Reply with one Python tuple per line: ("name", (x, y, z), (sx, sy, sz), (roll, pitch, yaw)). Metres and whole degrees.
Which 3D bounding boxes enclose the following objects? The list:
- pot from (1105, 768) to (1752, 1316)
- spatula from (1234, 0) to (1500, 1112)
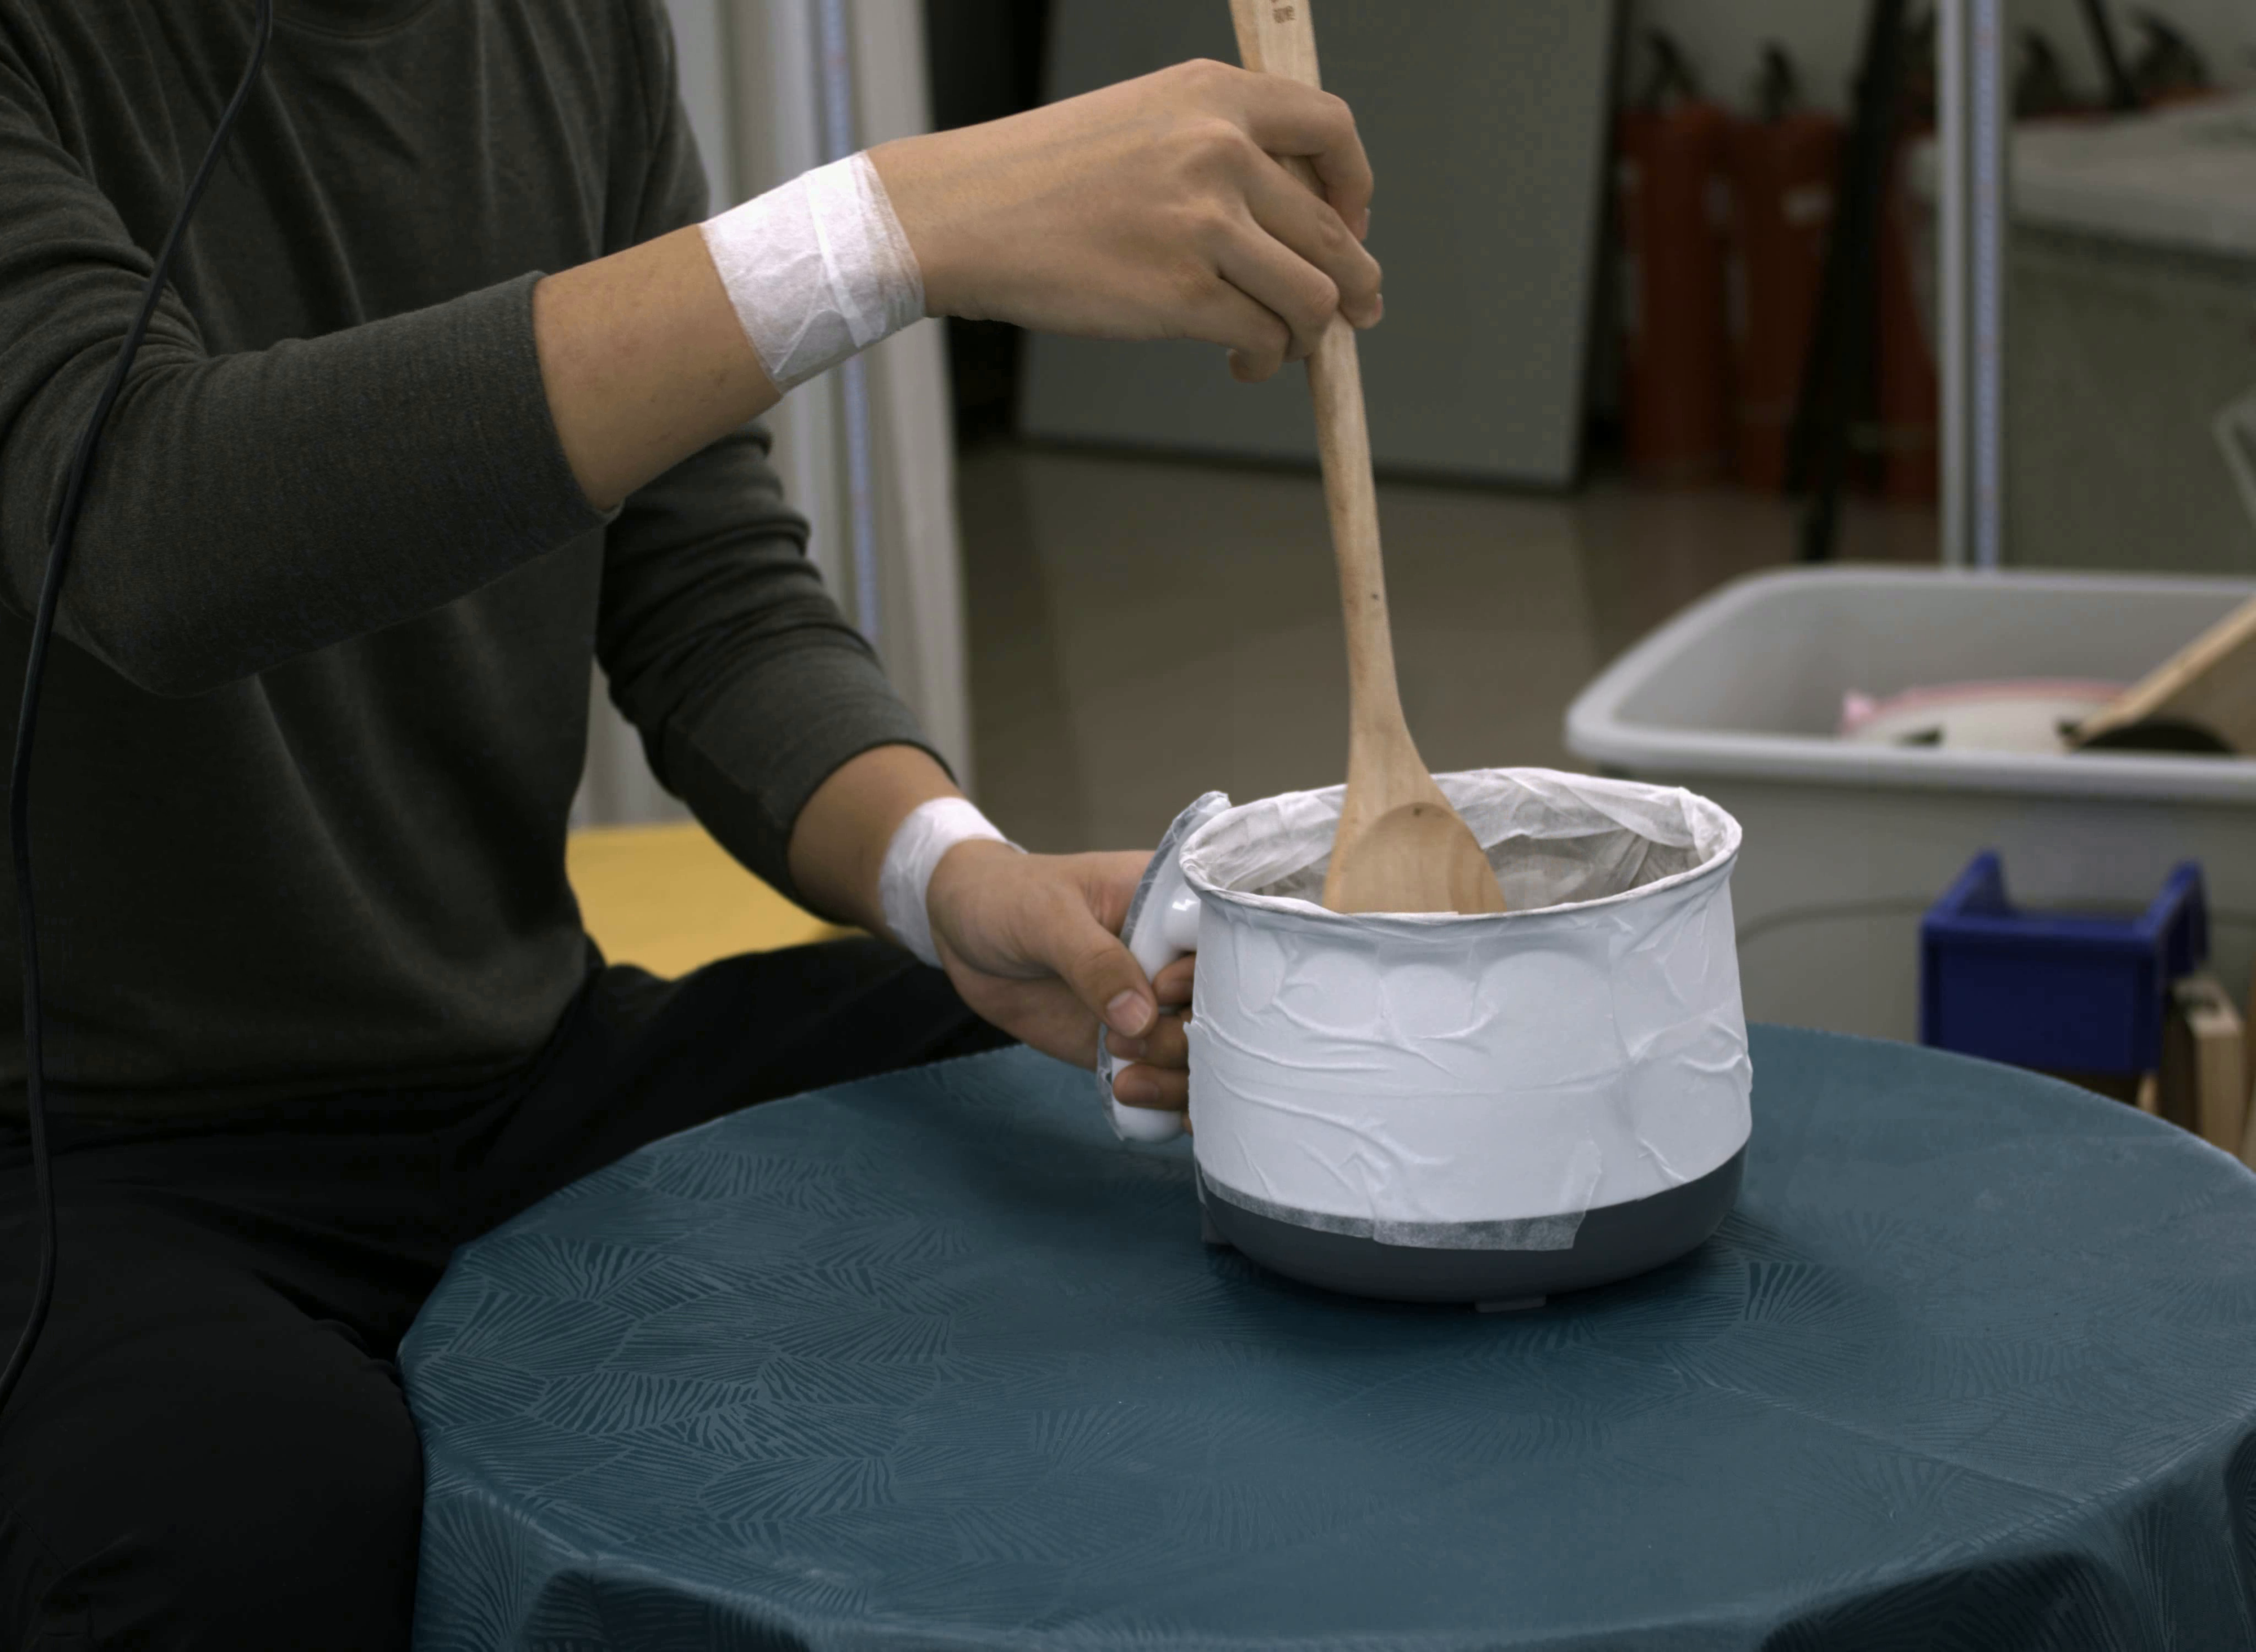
("pot", (0.085, 0.063, 1.703), (0.235, 0.138, 0.175), (6, 17, 39))
("spatula", (0.064, -0.105, 1.625), (0.018, 0.395, 0.094), (-1, 13, 38))
